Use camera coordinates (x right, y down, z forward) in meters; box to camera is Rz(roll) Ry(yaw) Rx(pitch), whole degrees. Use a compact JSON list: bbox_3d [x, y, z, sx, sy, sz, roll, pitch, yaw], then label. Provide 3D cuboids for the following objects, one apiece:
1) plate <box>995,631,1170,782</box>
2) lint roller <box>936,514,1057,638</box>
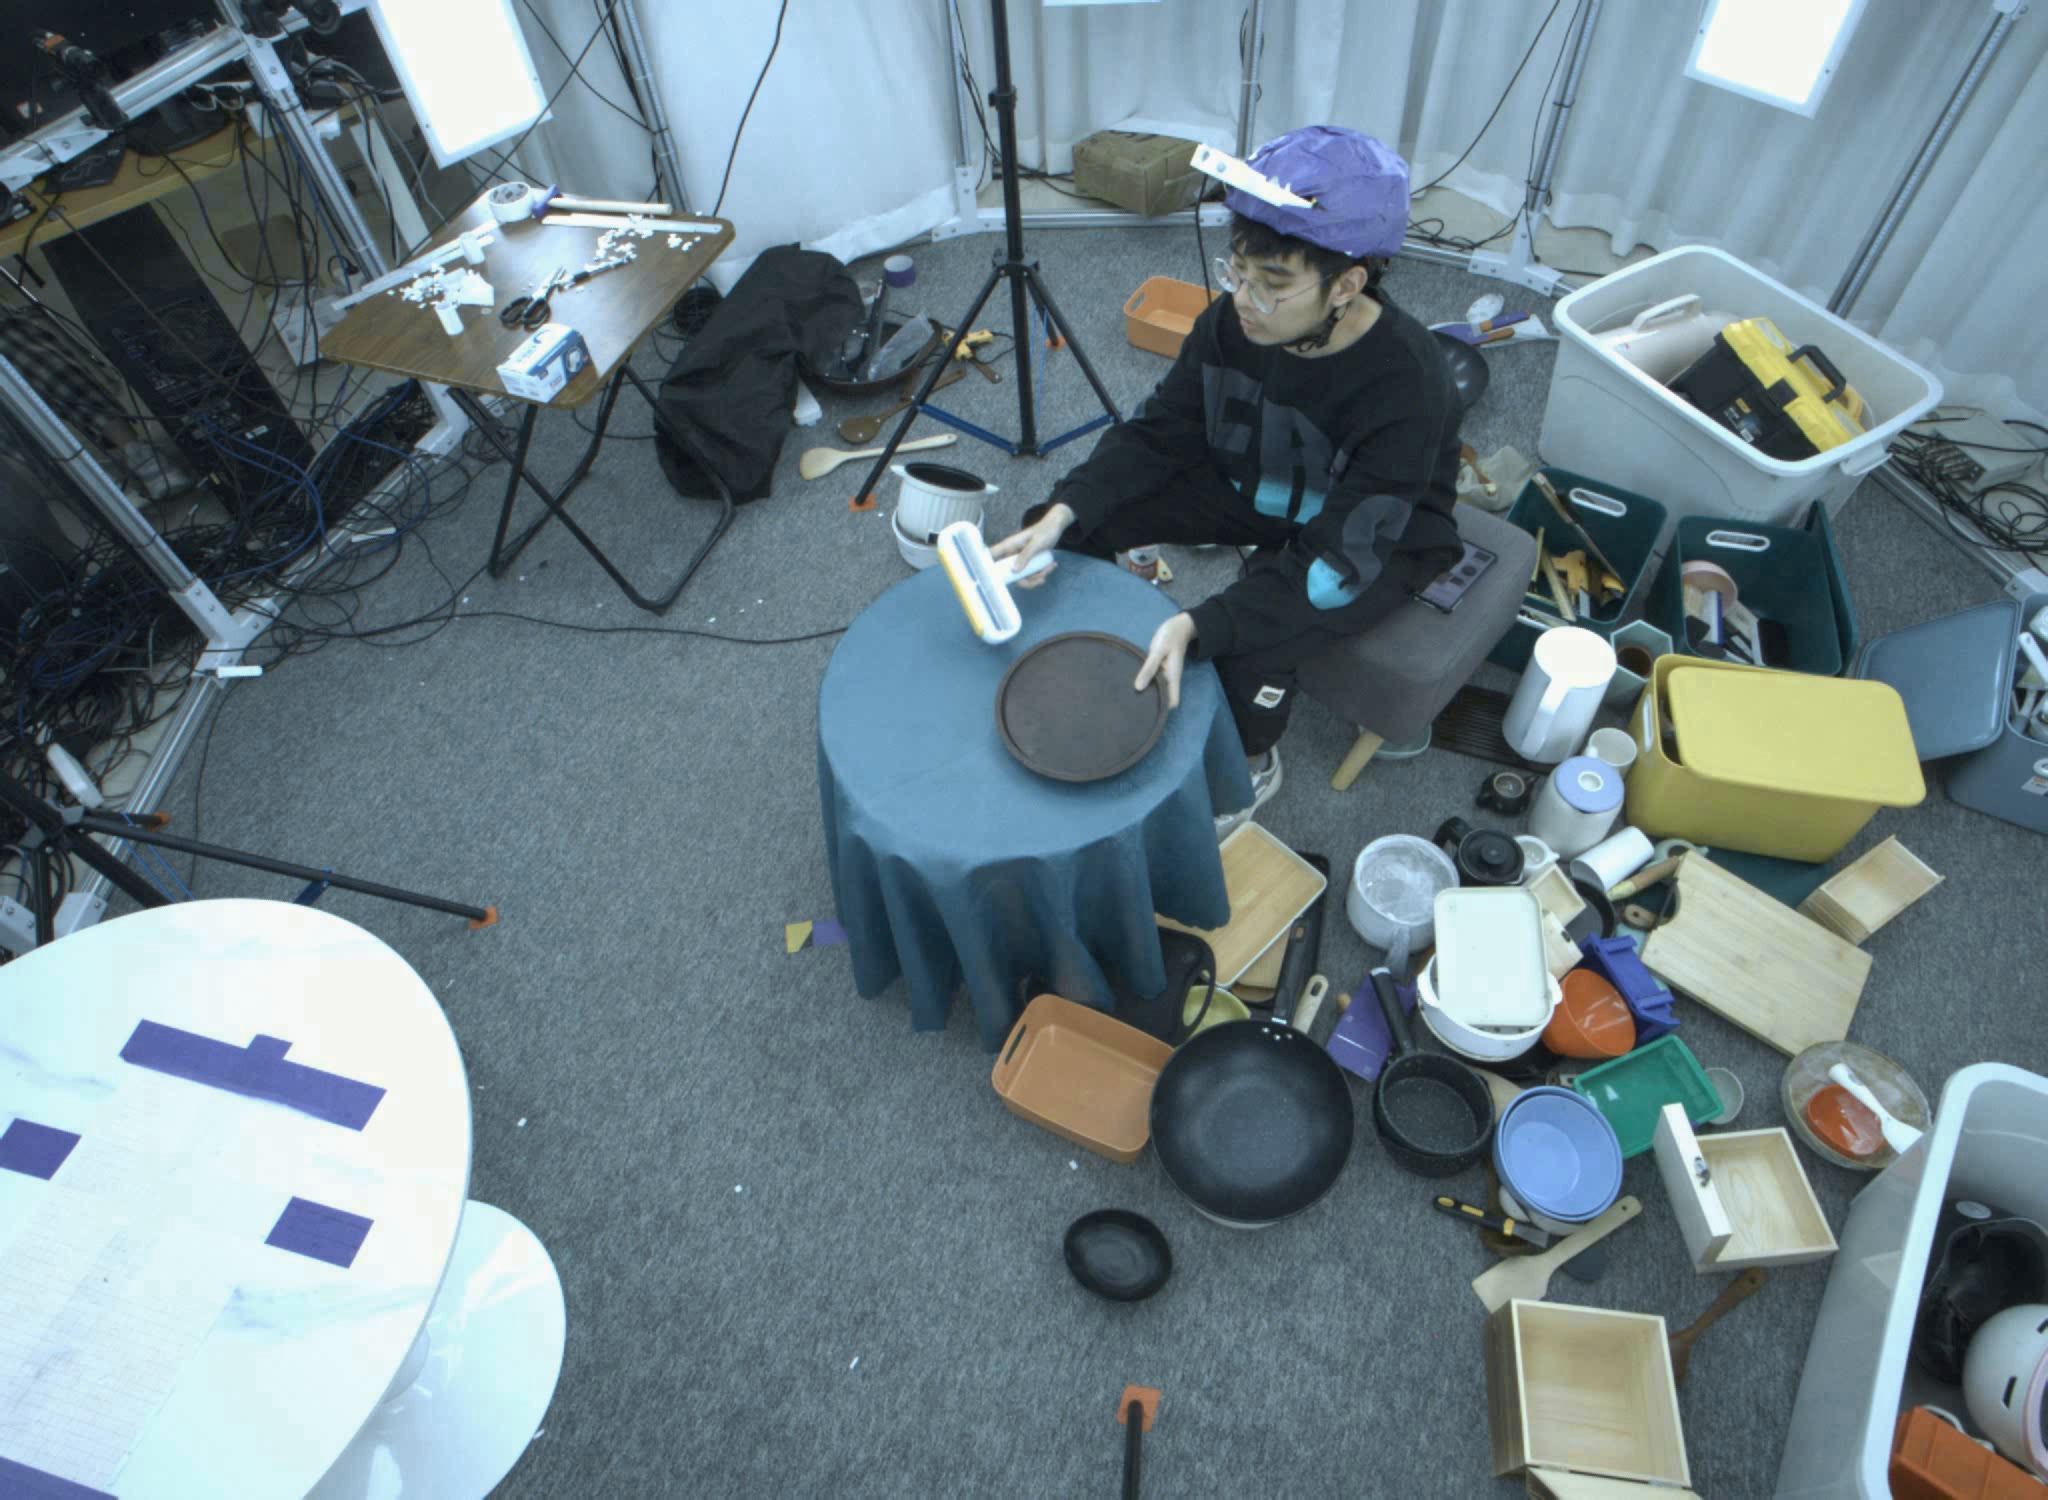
[{"bbox_3d":[0.083,-0.064,1.775,0.254,0.029,0.252,-1,61,3],"label":"plate"},{"bbox_3d":[-0.025,-0.281,1.880,0.195,0.073,0.193,-24,90,-27],"label":"lint roller"}]
